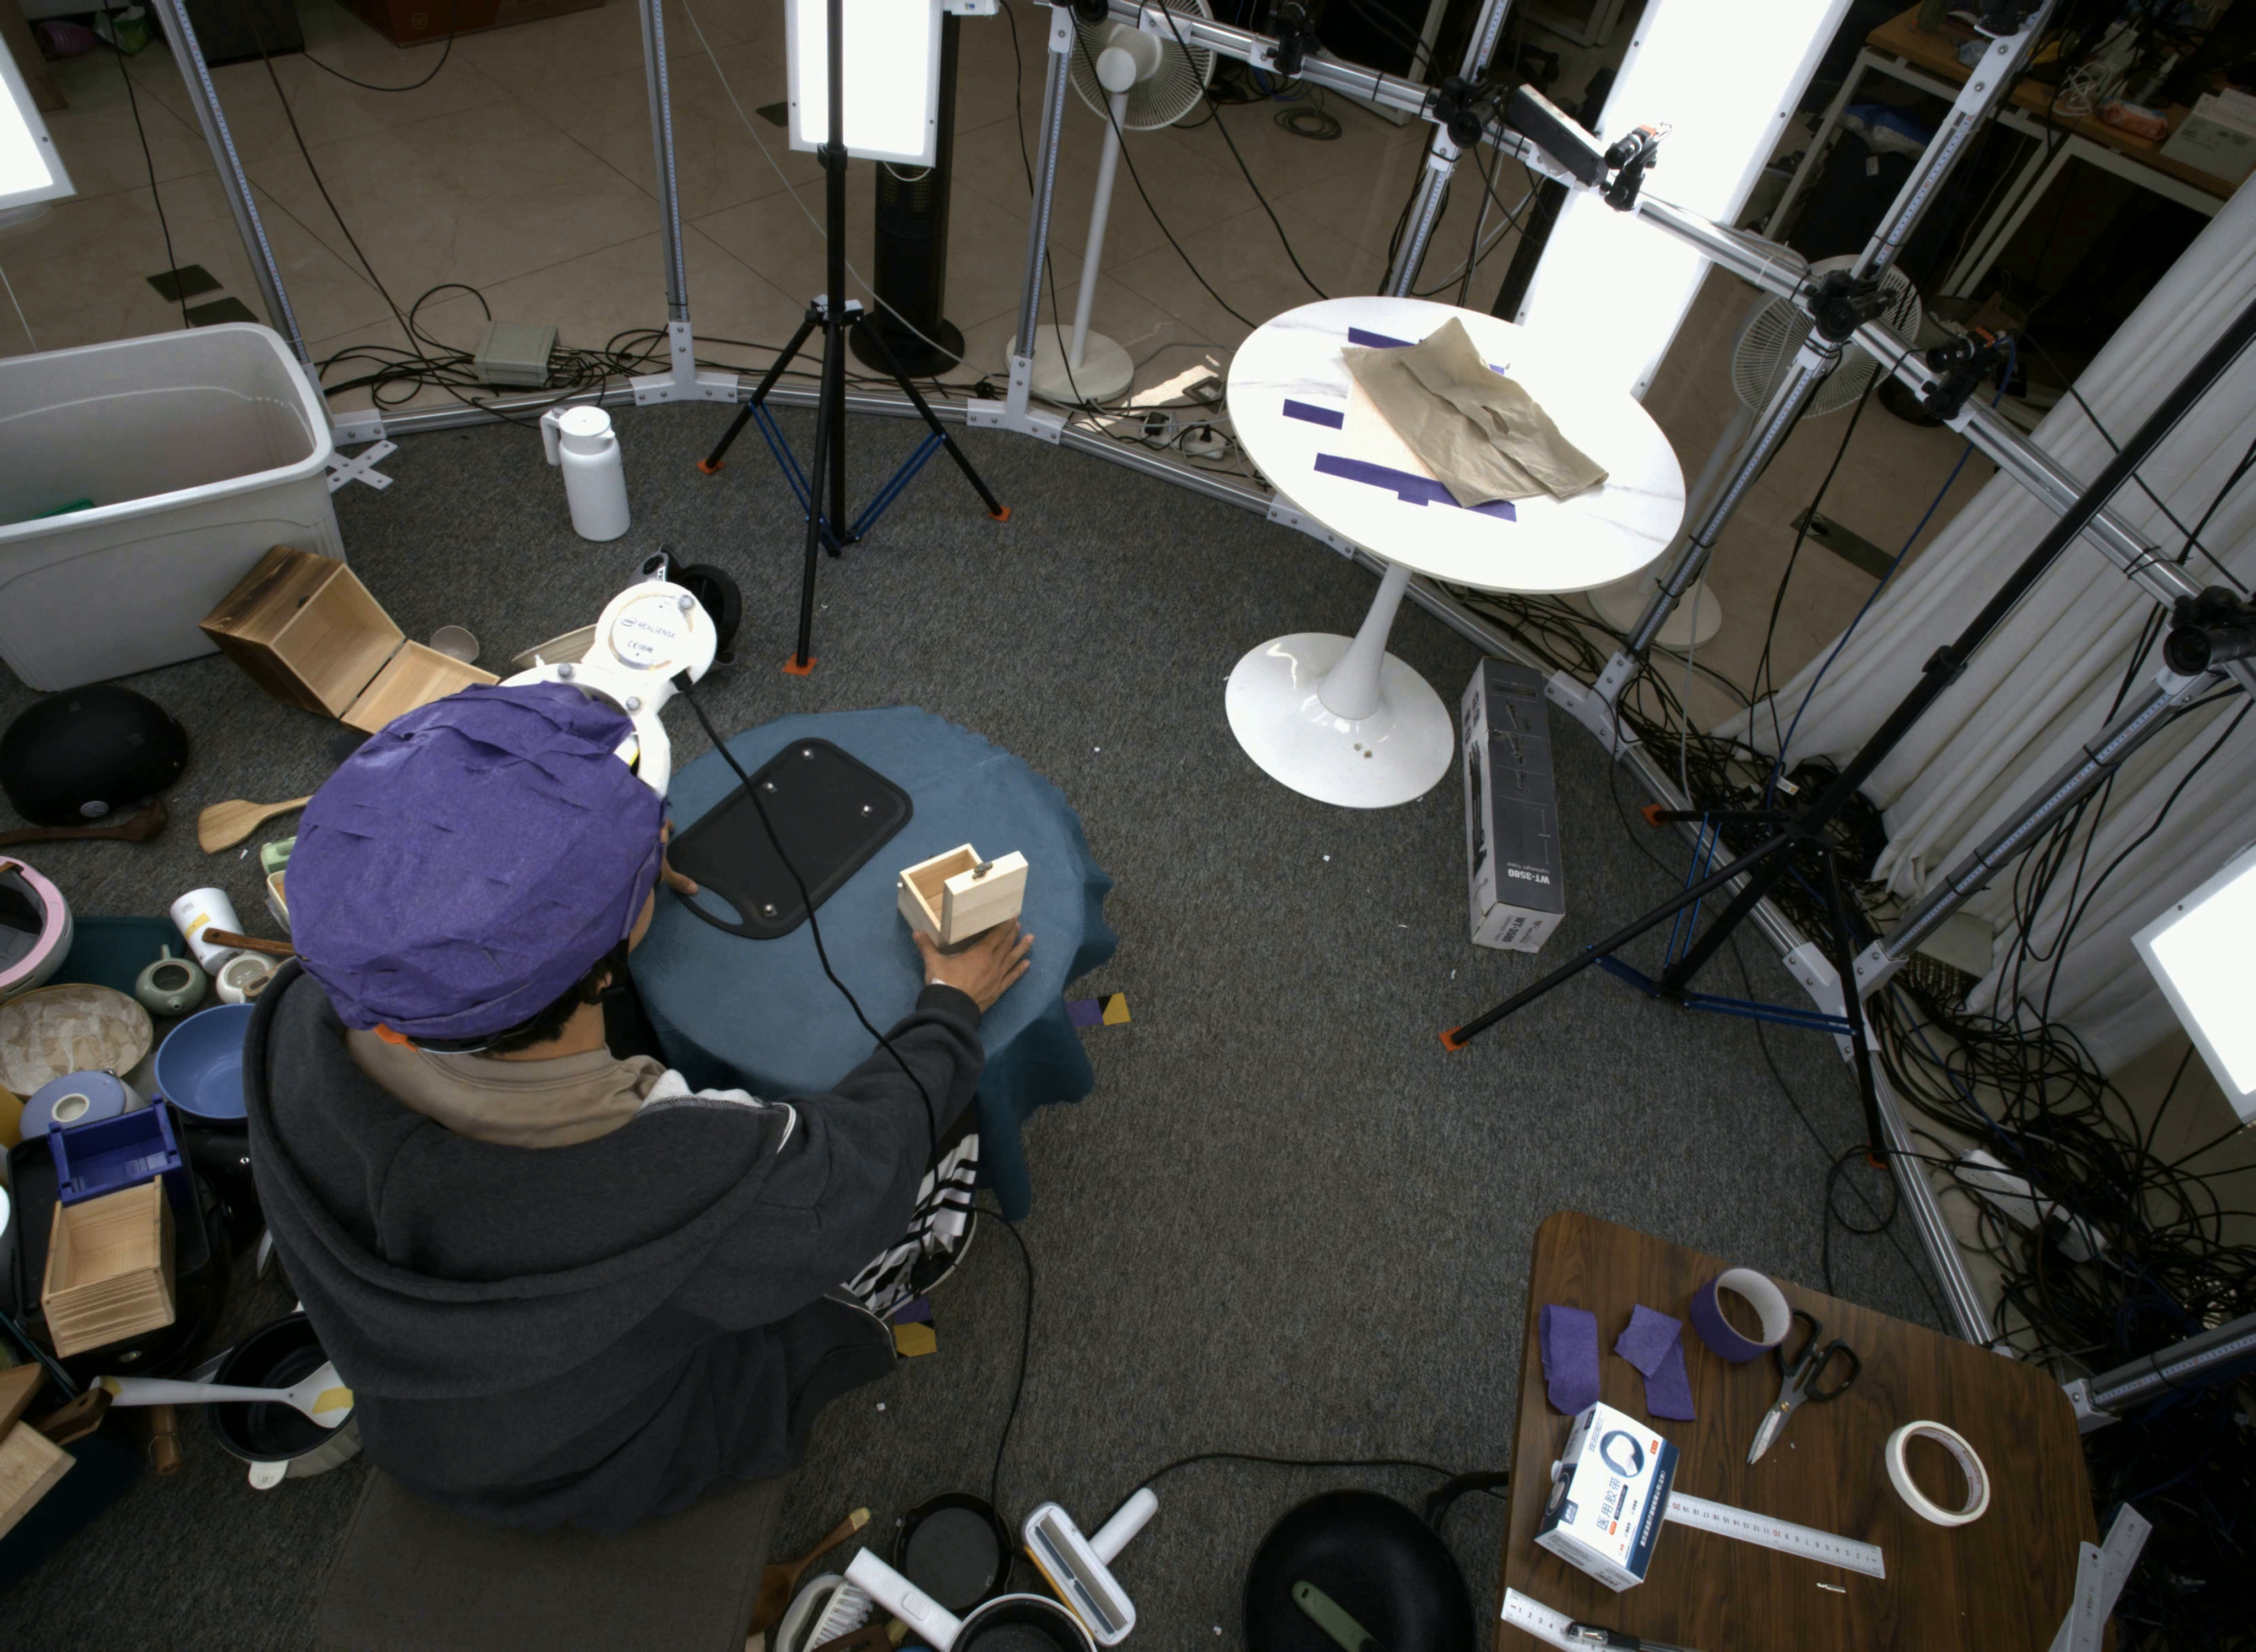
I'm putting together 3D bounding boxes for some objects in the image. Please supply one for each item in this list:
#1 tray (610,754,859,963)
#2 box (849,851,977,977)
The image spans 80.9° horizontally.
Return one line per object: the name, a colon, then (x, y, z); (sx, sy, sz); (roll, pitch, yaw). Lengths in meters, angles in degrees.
tray: (-0.512, 0.037, 1.674); (0.207, 0.010, 0.324); (31, 52, 9)
box: (-0.266, 0.083, 1.589); (0.103, 0.188, 0.131); (-29, 65, -30)
